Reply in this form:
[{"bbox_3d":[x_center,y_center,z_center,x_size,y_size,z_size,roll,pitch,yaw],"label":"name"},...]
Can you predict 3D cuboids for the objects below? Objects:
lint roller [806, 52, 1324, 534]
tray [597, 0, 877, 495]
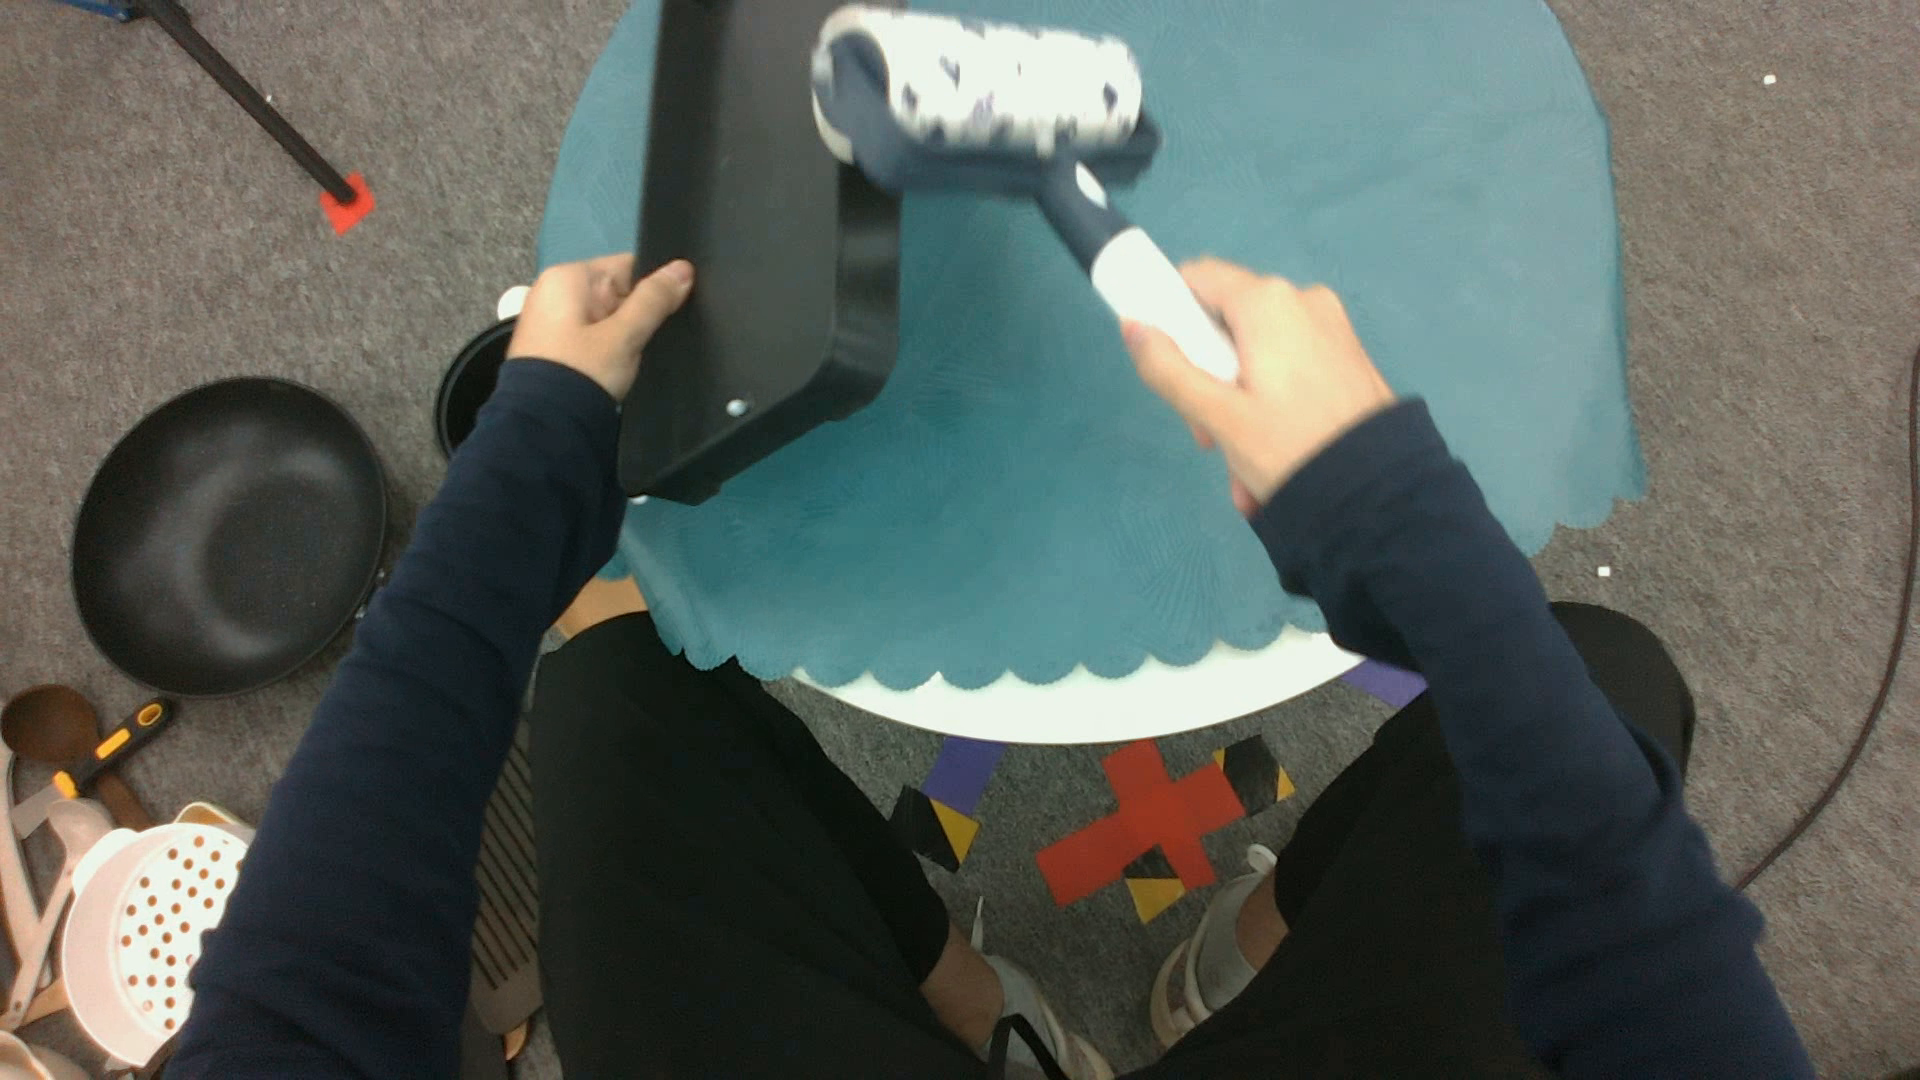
[{"bbox_3d":[0.067,-0.106,0.560,0.247,0.177,0.050,51,128,18],"label":"lint roller"},{"bbox_3d":[-0.109,-0.190,0.649,0.037,0.183,0.319,13,65,-38],"label":"tray"}]
